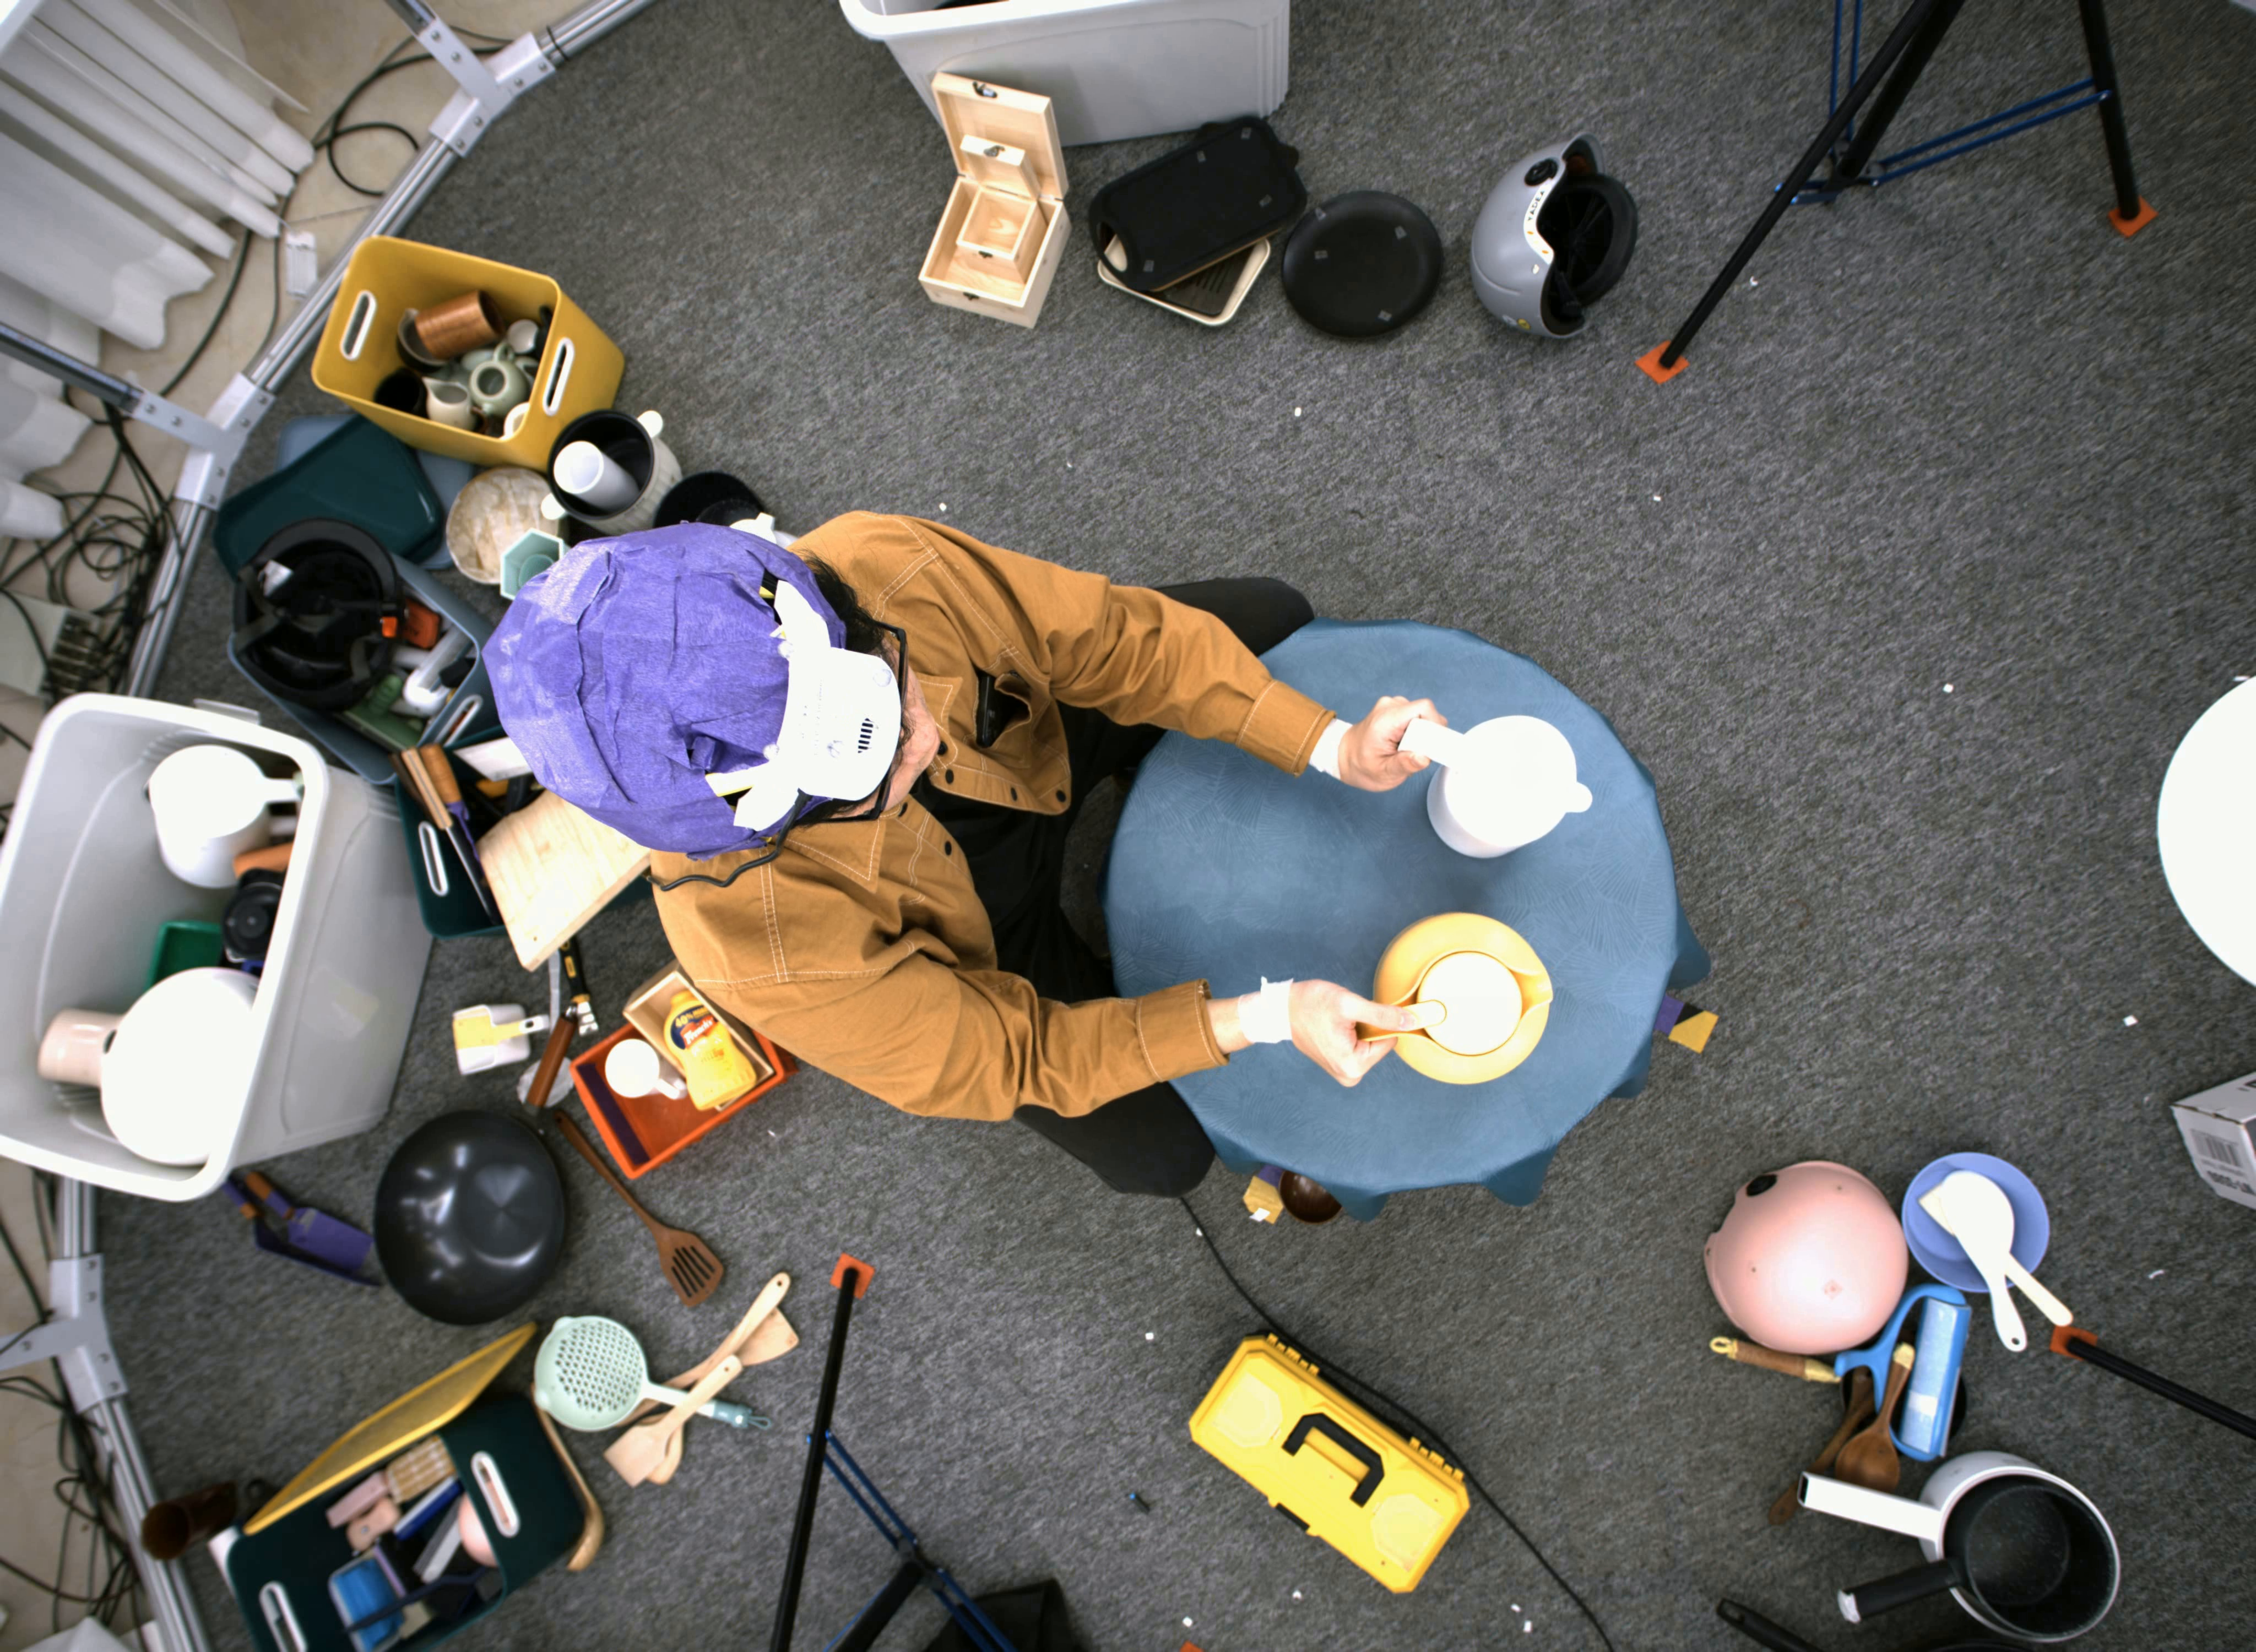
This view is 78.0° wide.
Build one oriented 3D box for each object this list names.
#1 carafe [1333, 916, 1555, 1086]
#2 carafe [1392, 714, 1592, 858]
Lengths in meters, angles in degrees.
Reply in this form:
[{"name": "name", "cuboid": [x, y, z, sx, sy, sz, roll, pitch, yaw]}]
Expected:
[{"name": "carafe", "cuboid": [0.297, 0.166, 1.316, 0.203, 0.261, 0.162, -12, 82, 8]}, {"name": "carafe", "cuboid": [0.338, -0.042, 1.315, 0.173, 0.268, 0.124, 23, 92, 9]}]
